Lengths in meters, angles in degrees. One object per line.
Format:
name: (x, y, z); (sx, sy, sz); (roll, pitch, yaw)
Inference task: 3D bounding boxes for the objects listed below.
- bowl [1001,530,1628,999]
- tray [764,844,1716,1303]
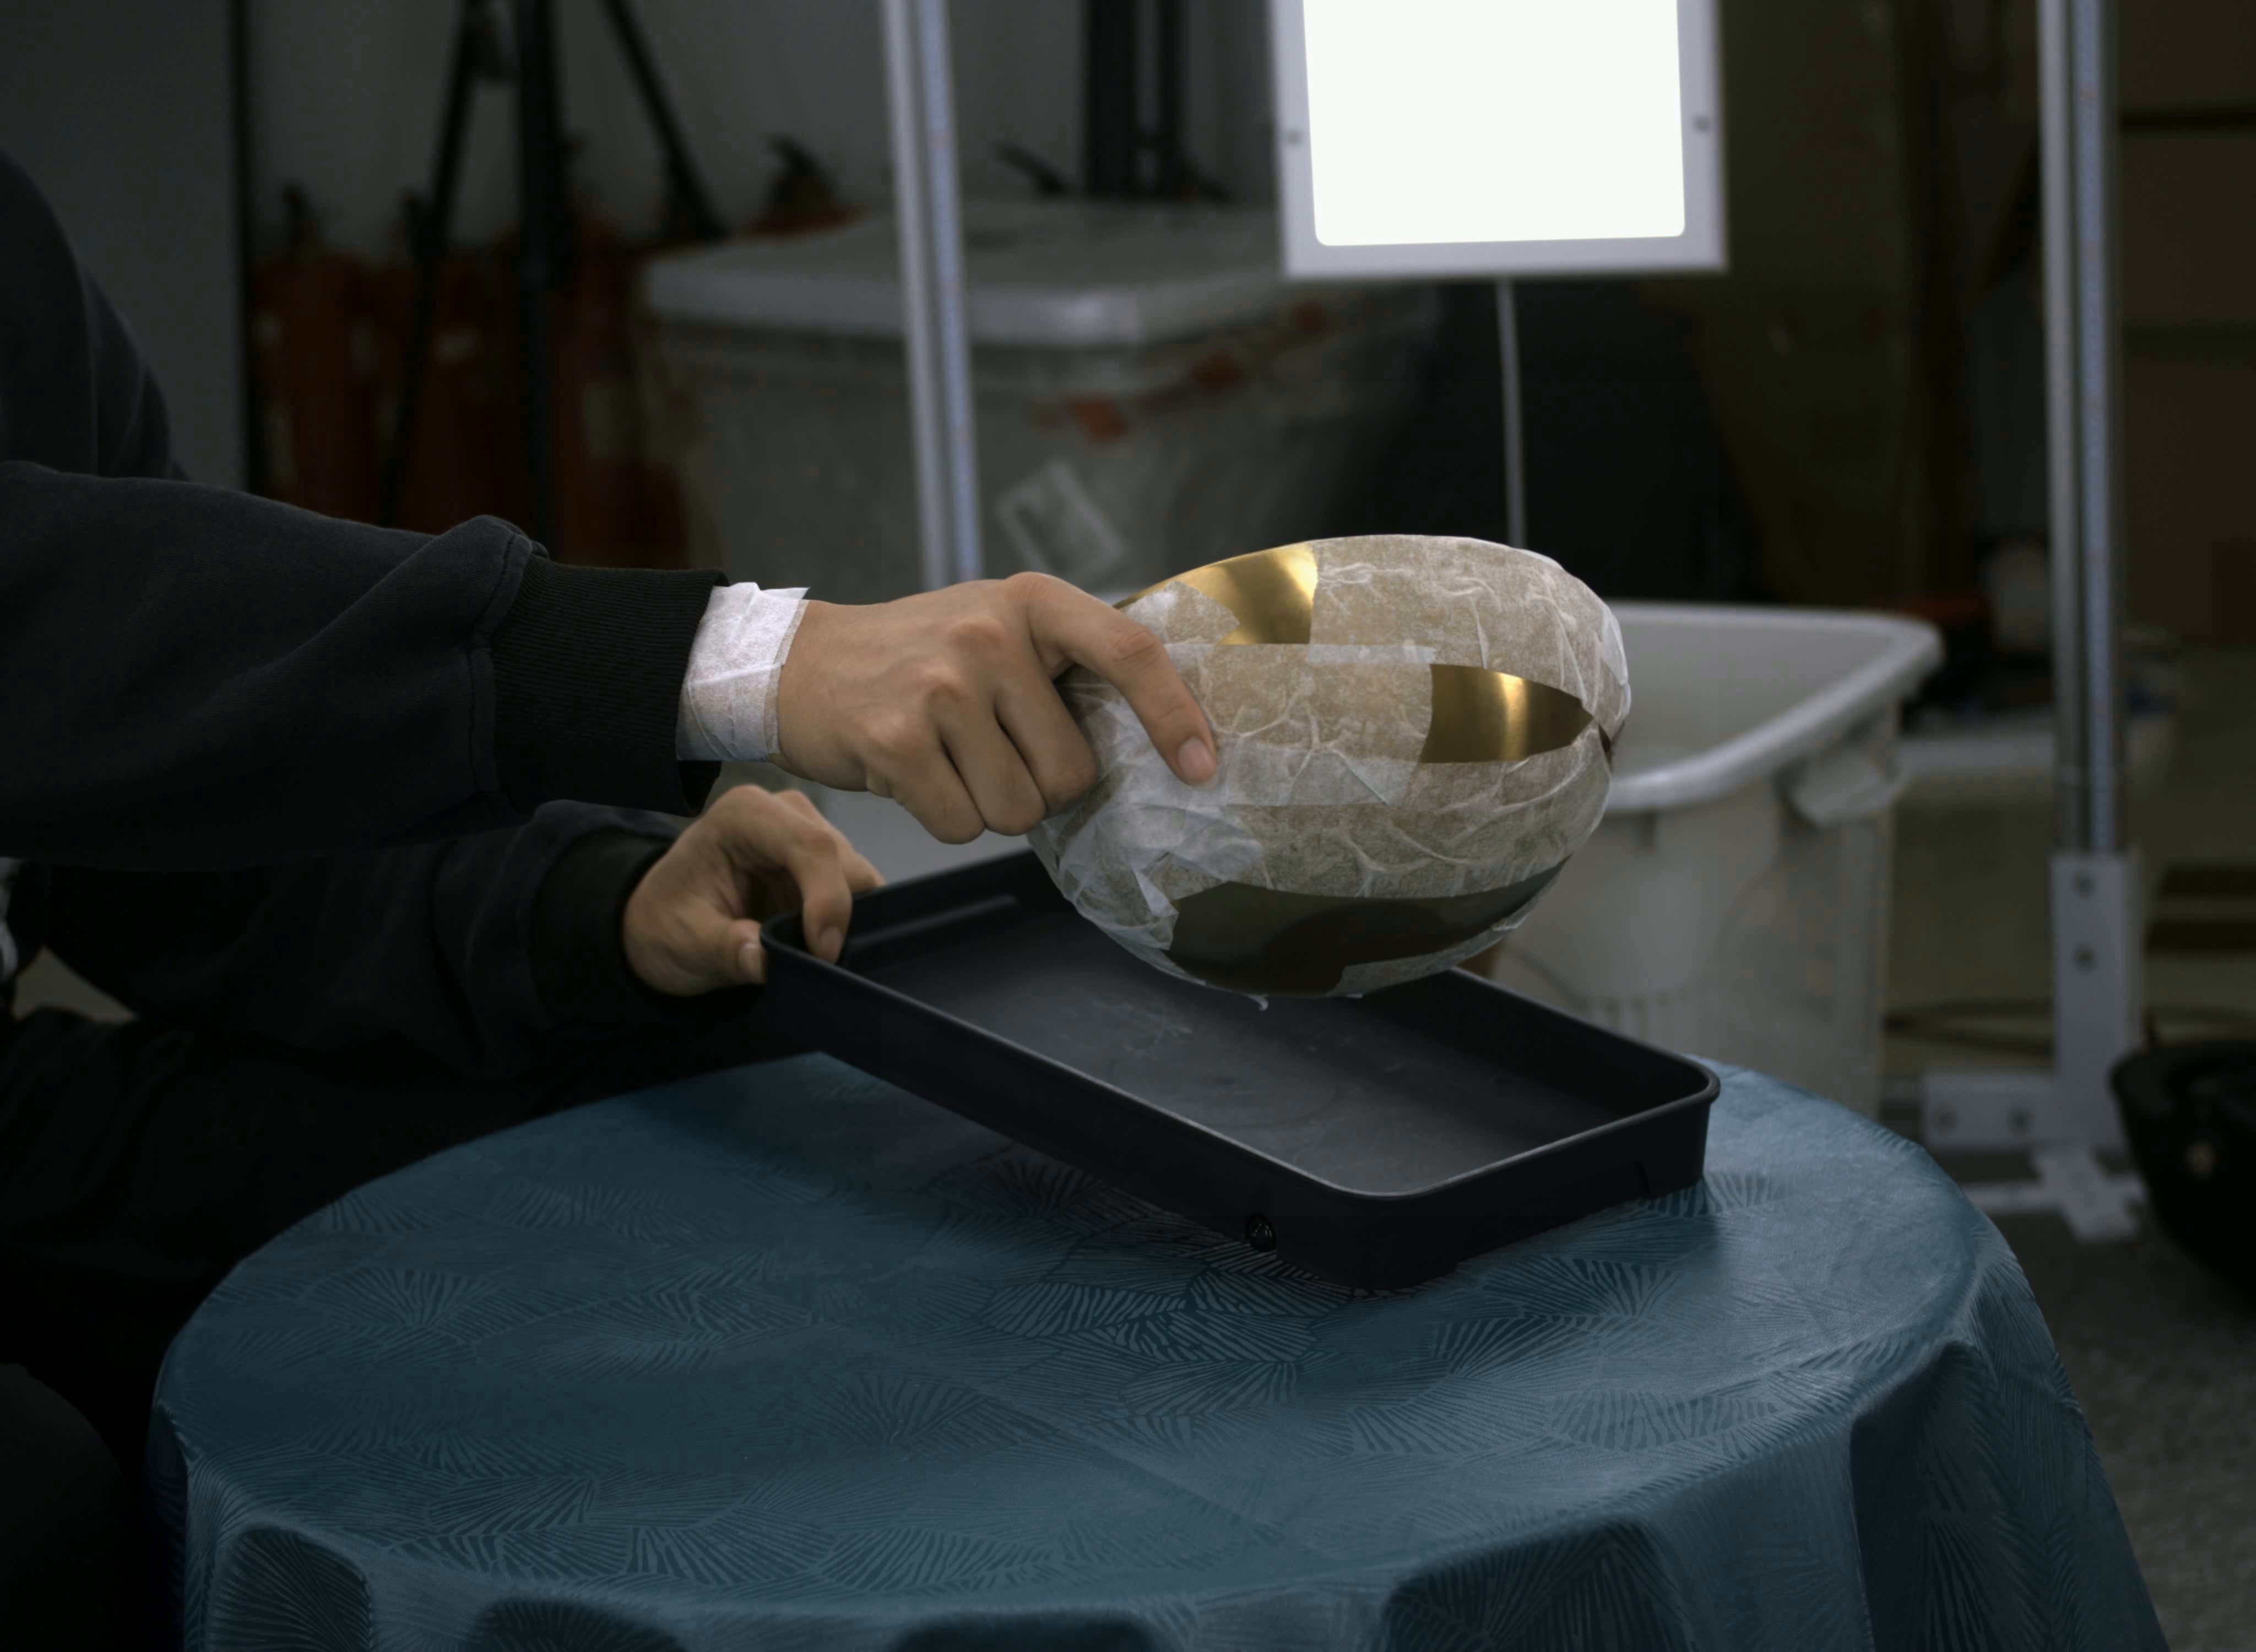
bowl: (0.063, -0.002, 1.736); (0.213, 0.095, 0.216); (-7, -26, -5)
tray: (0.034, 0.078, 1.909); (0.179, 0.037, 0.324); (-13, 26, -40)
